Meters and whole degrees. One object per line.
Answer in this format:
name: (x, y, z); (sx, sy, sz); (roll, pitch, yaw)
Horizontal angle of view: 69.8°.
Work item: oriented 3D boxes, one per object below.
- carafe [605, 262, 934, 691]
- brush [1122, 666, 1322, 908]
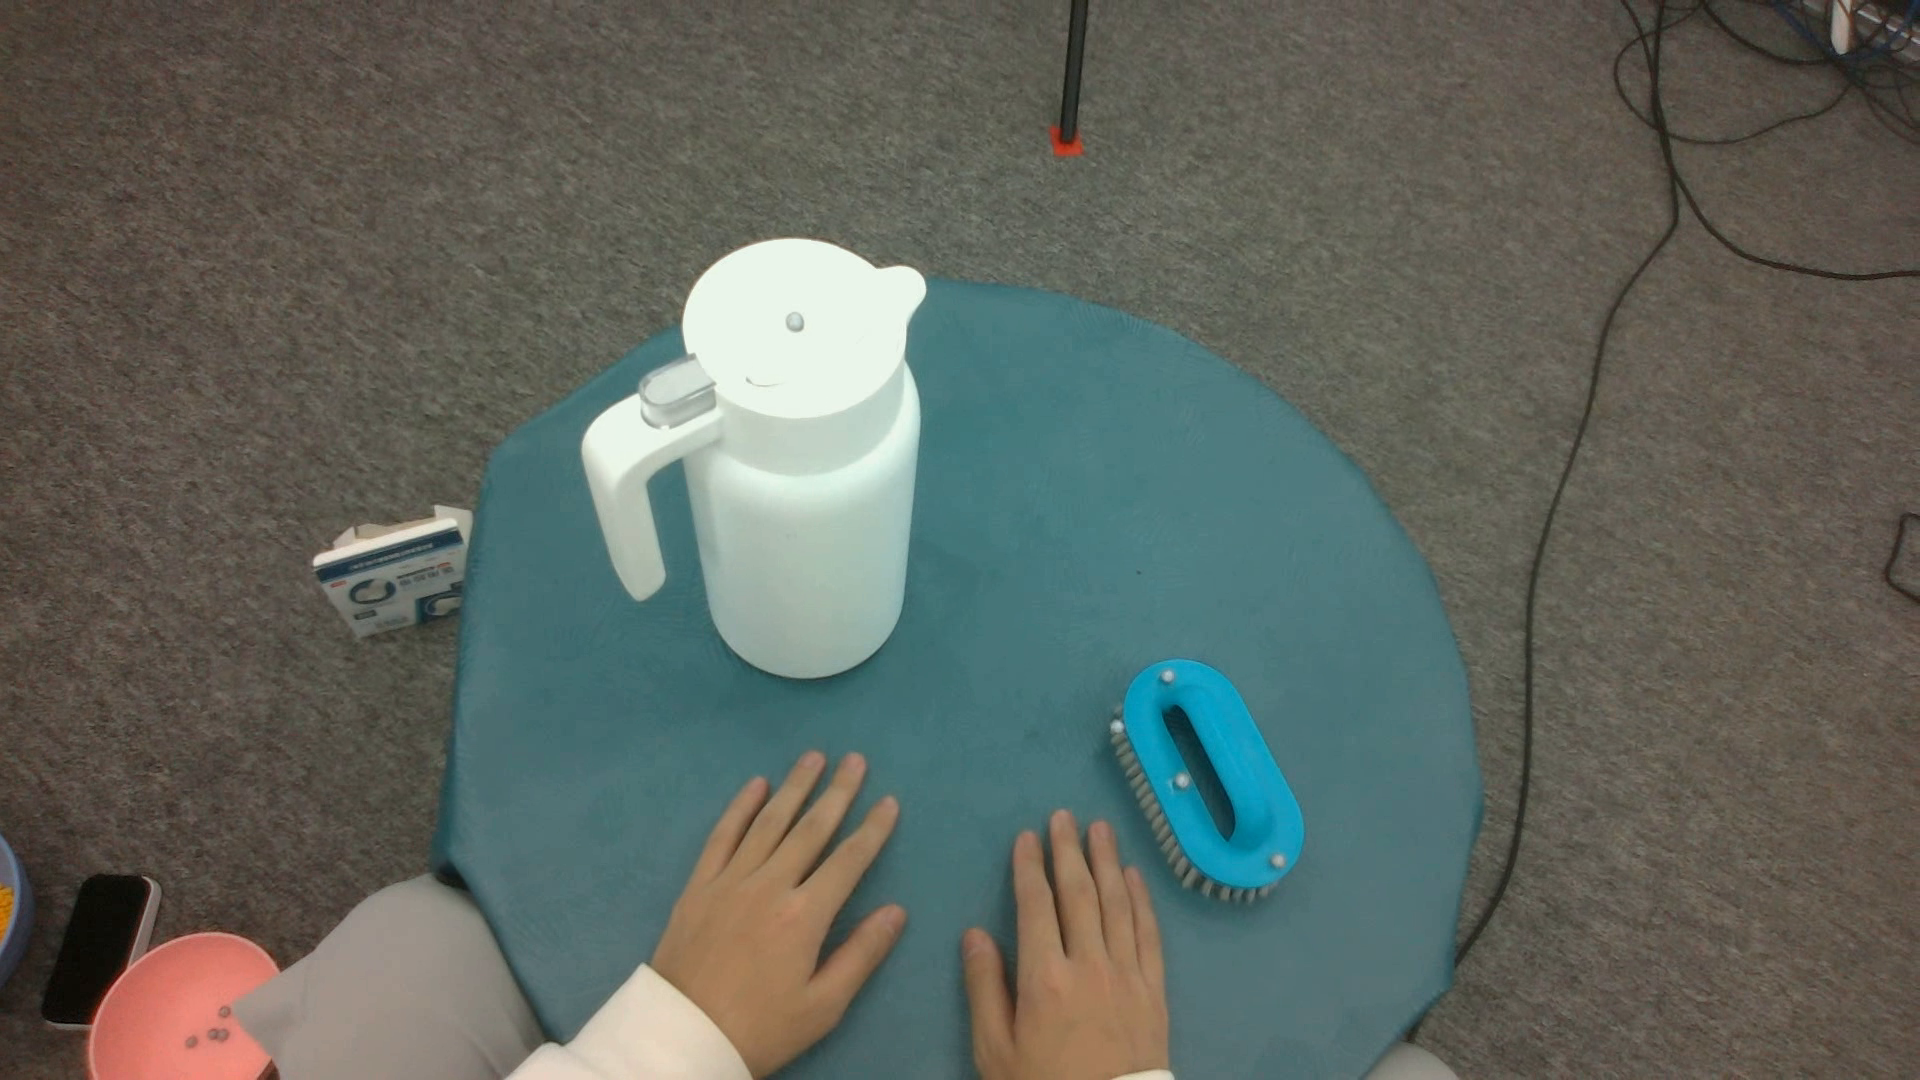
carafe: (-0.089, -0.014, 0.726); (0.173, 0.267, 0.124); (-32, 69, -20)
brush: (0.152, 0.131, 0.776); (0.084, 0.063, 0.142); (-14, 63, -18)
